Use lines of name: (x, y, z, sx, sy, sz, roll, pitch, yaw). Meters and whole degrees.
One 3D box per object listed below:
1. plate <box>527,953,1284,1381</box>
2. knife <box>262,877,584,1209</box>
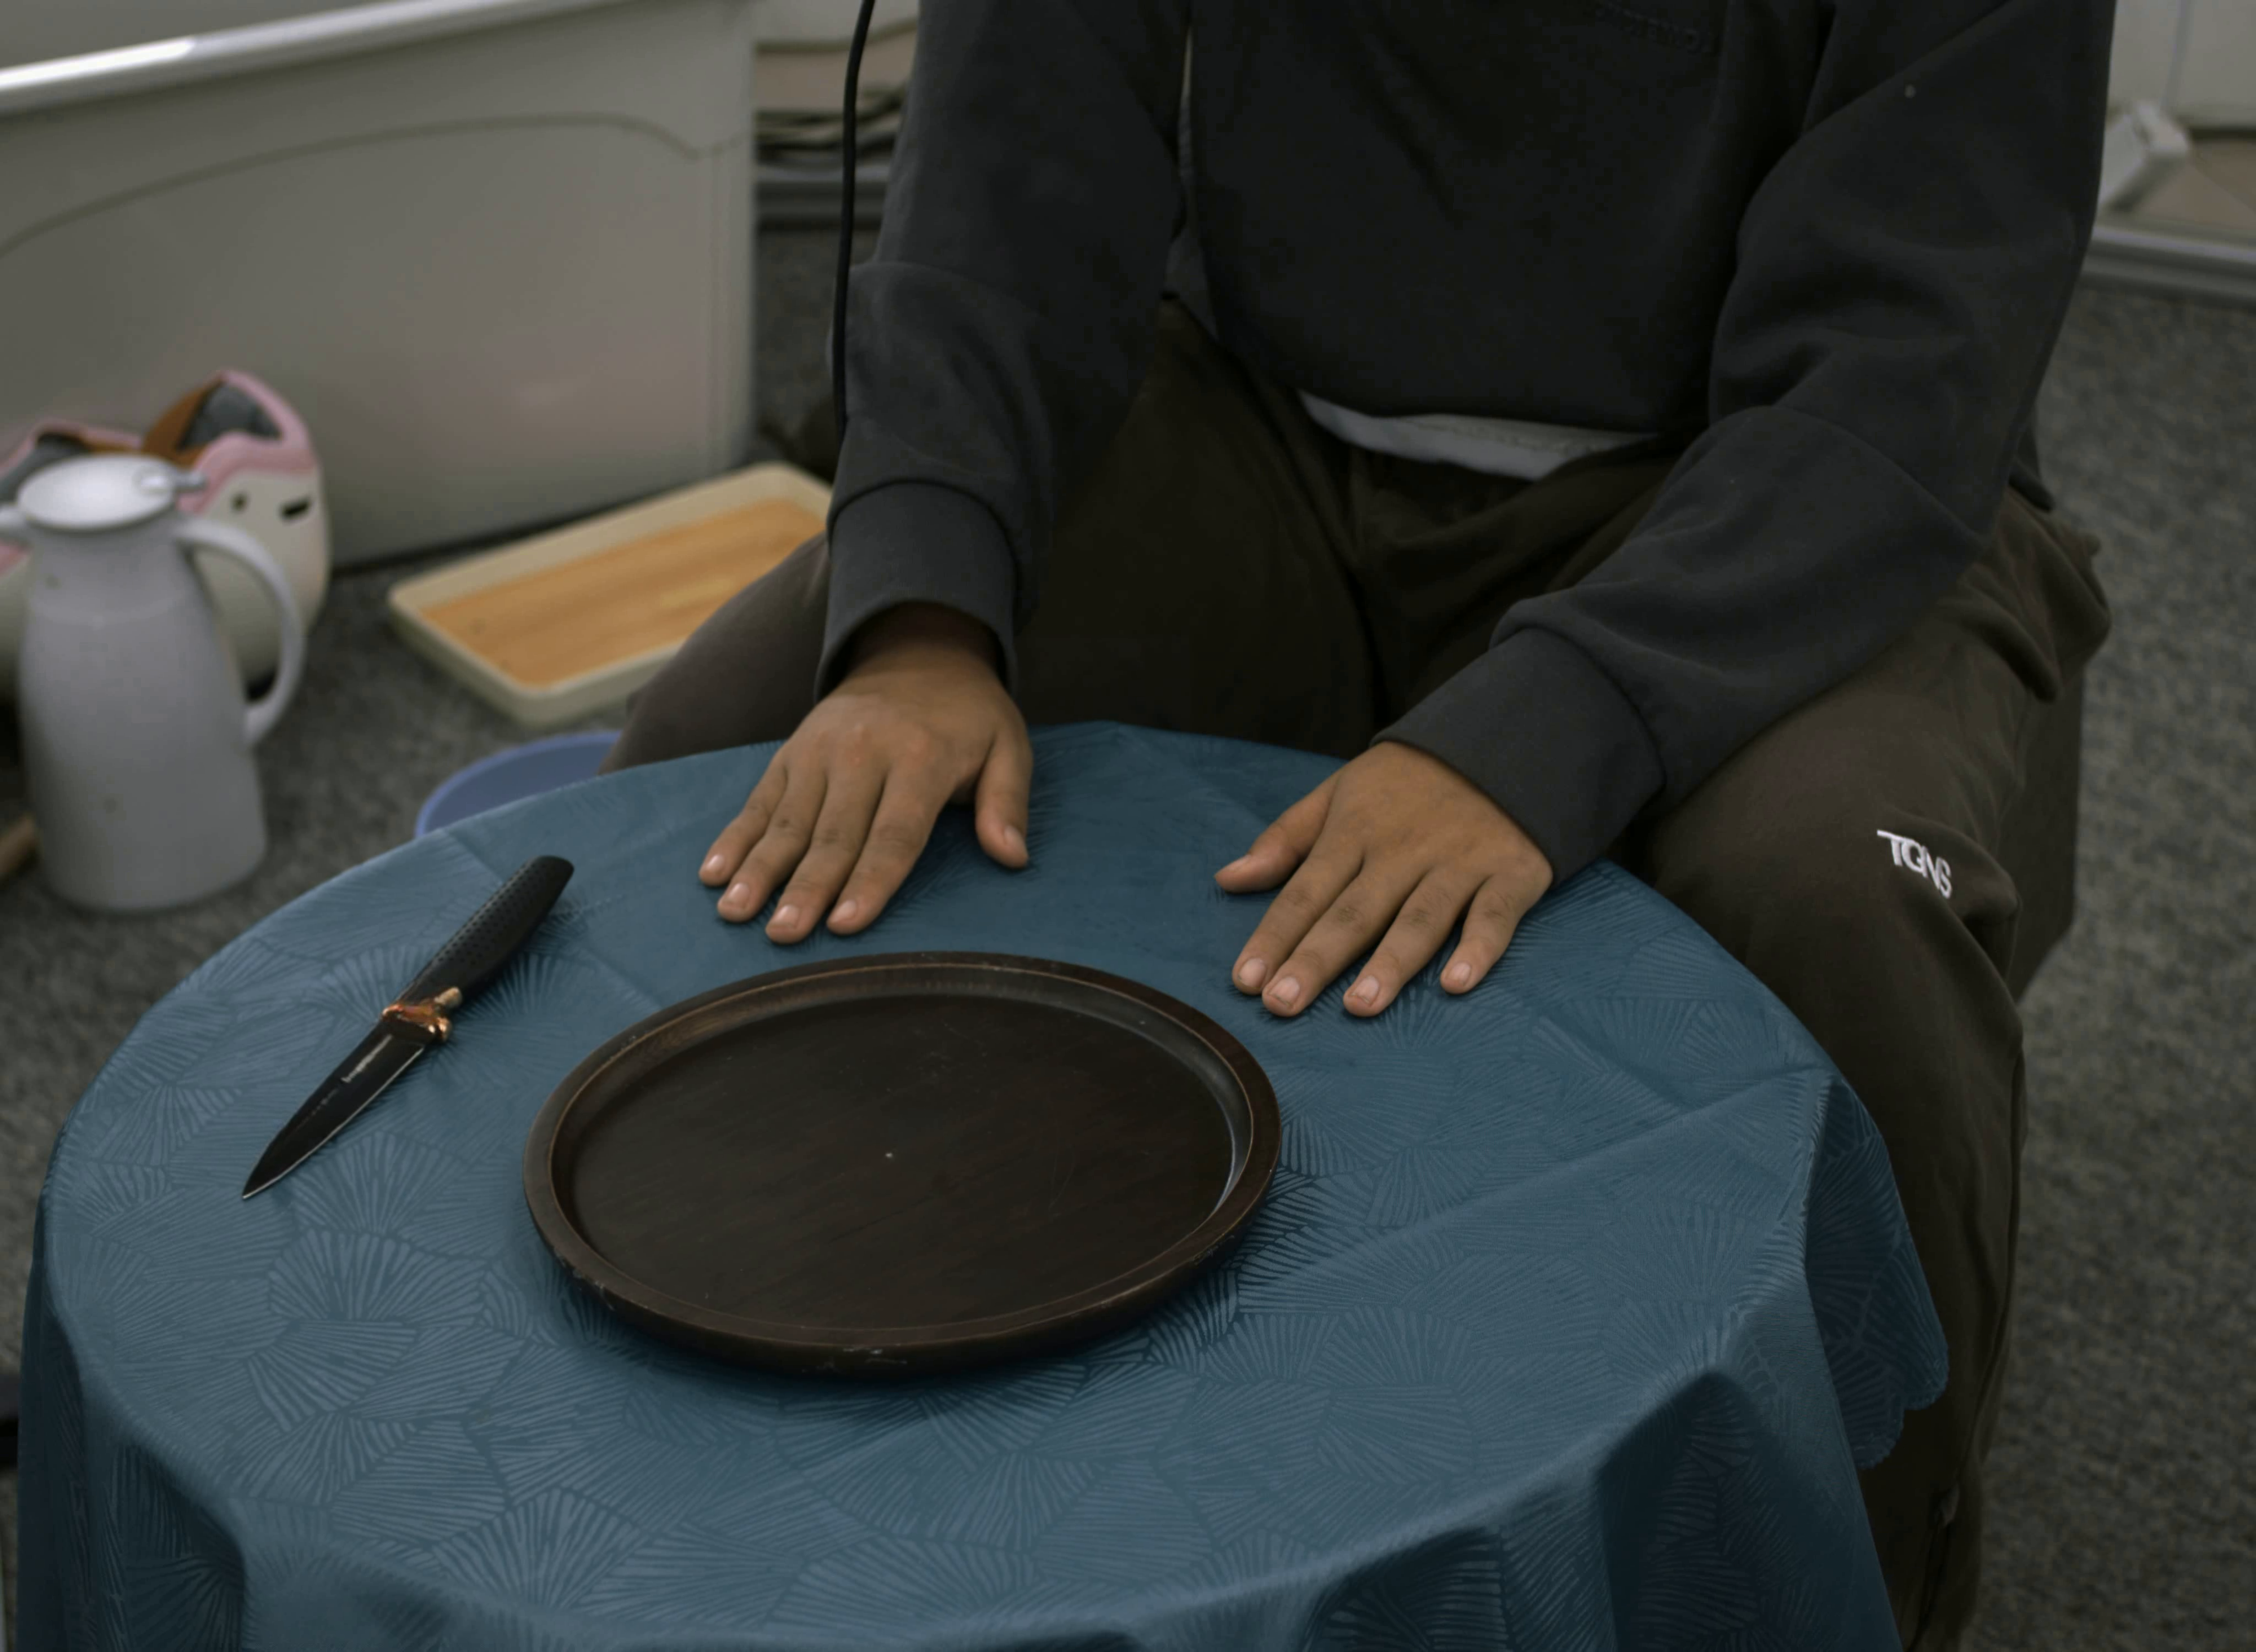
plate: (-0.073, 0.112, 1.866, 0.253, 0.029, 0.258, -3, 26, 2)
knife: (-0.249, 0.075, 1.966, 0.026, 0.017, 0.229, 14, 32, 19)
